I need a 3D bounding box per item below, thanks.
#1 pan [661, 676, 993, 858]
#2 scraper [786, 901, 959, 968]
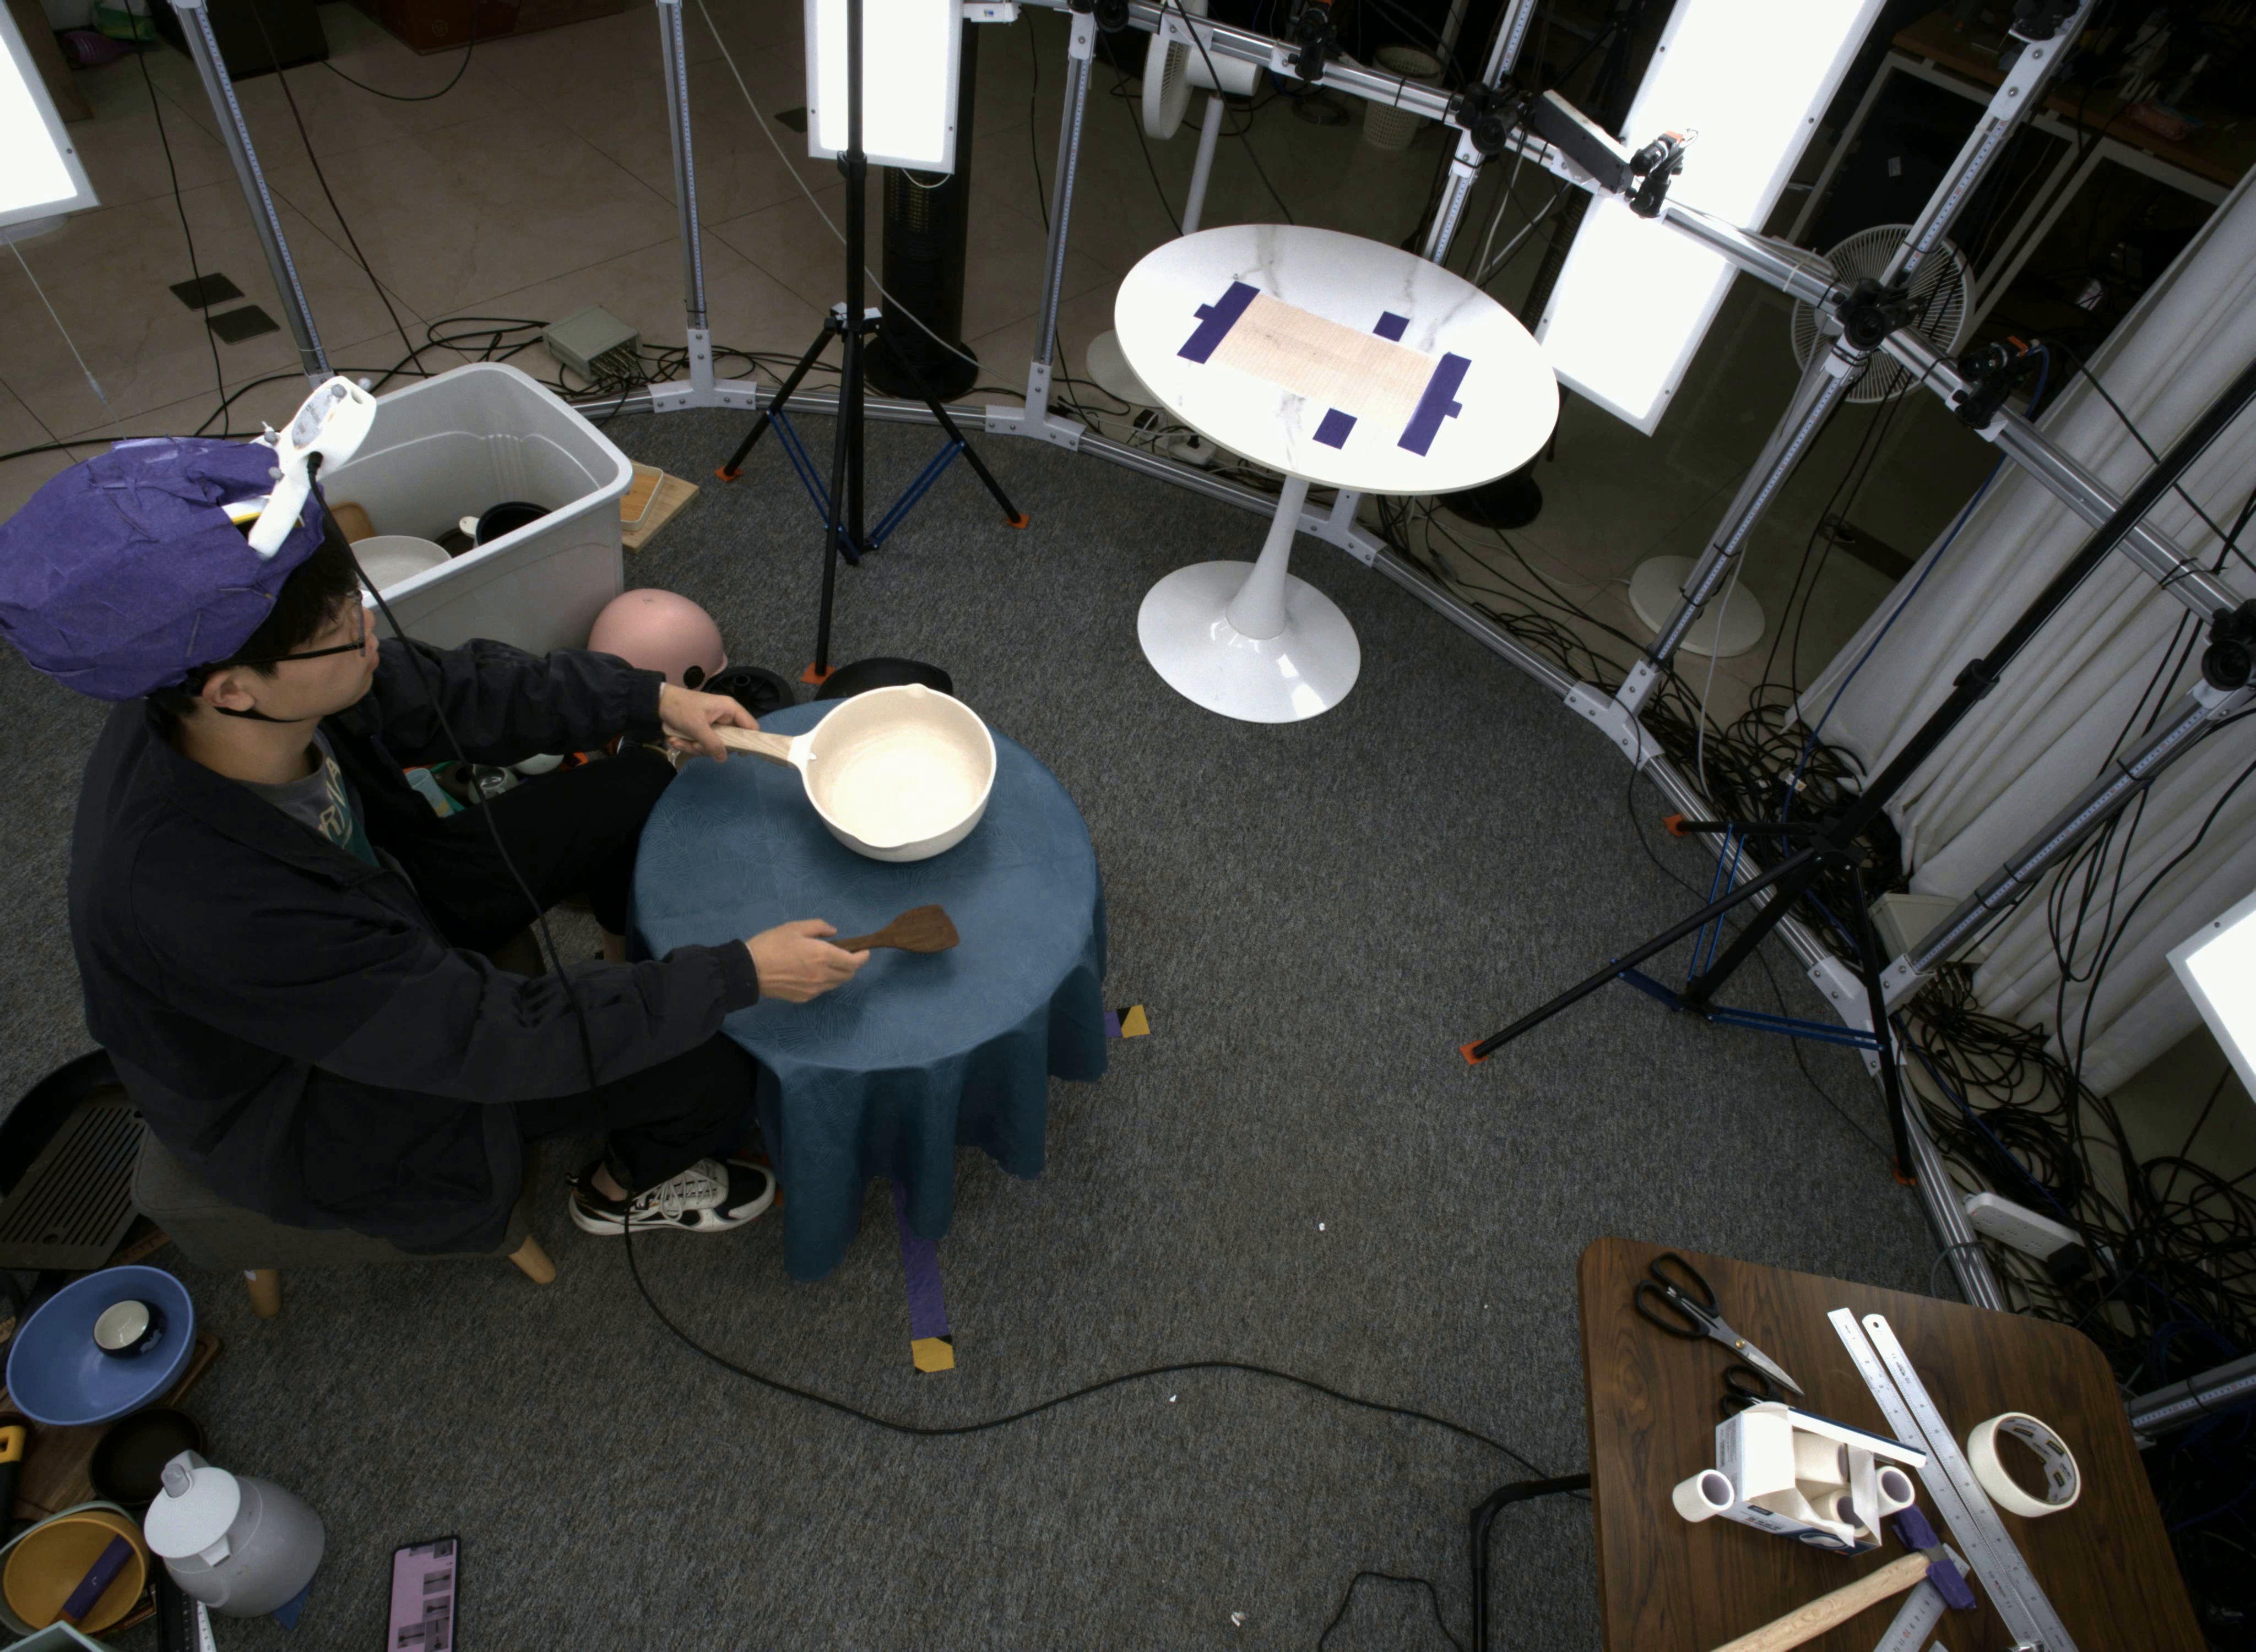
[{"bbox_3d":[-0.393,-0.082,1.716,0.431,0.104,0.260,6,59,-3],"label":"pan"},{"bbox_3d":[-0.309,0.136,1.573,0.213,0.011,0.073,-11,51,-32],"label":"scraper"}]
